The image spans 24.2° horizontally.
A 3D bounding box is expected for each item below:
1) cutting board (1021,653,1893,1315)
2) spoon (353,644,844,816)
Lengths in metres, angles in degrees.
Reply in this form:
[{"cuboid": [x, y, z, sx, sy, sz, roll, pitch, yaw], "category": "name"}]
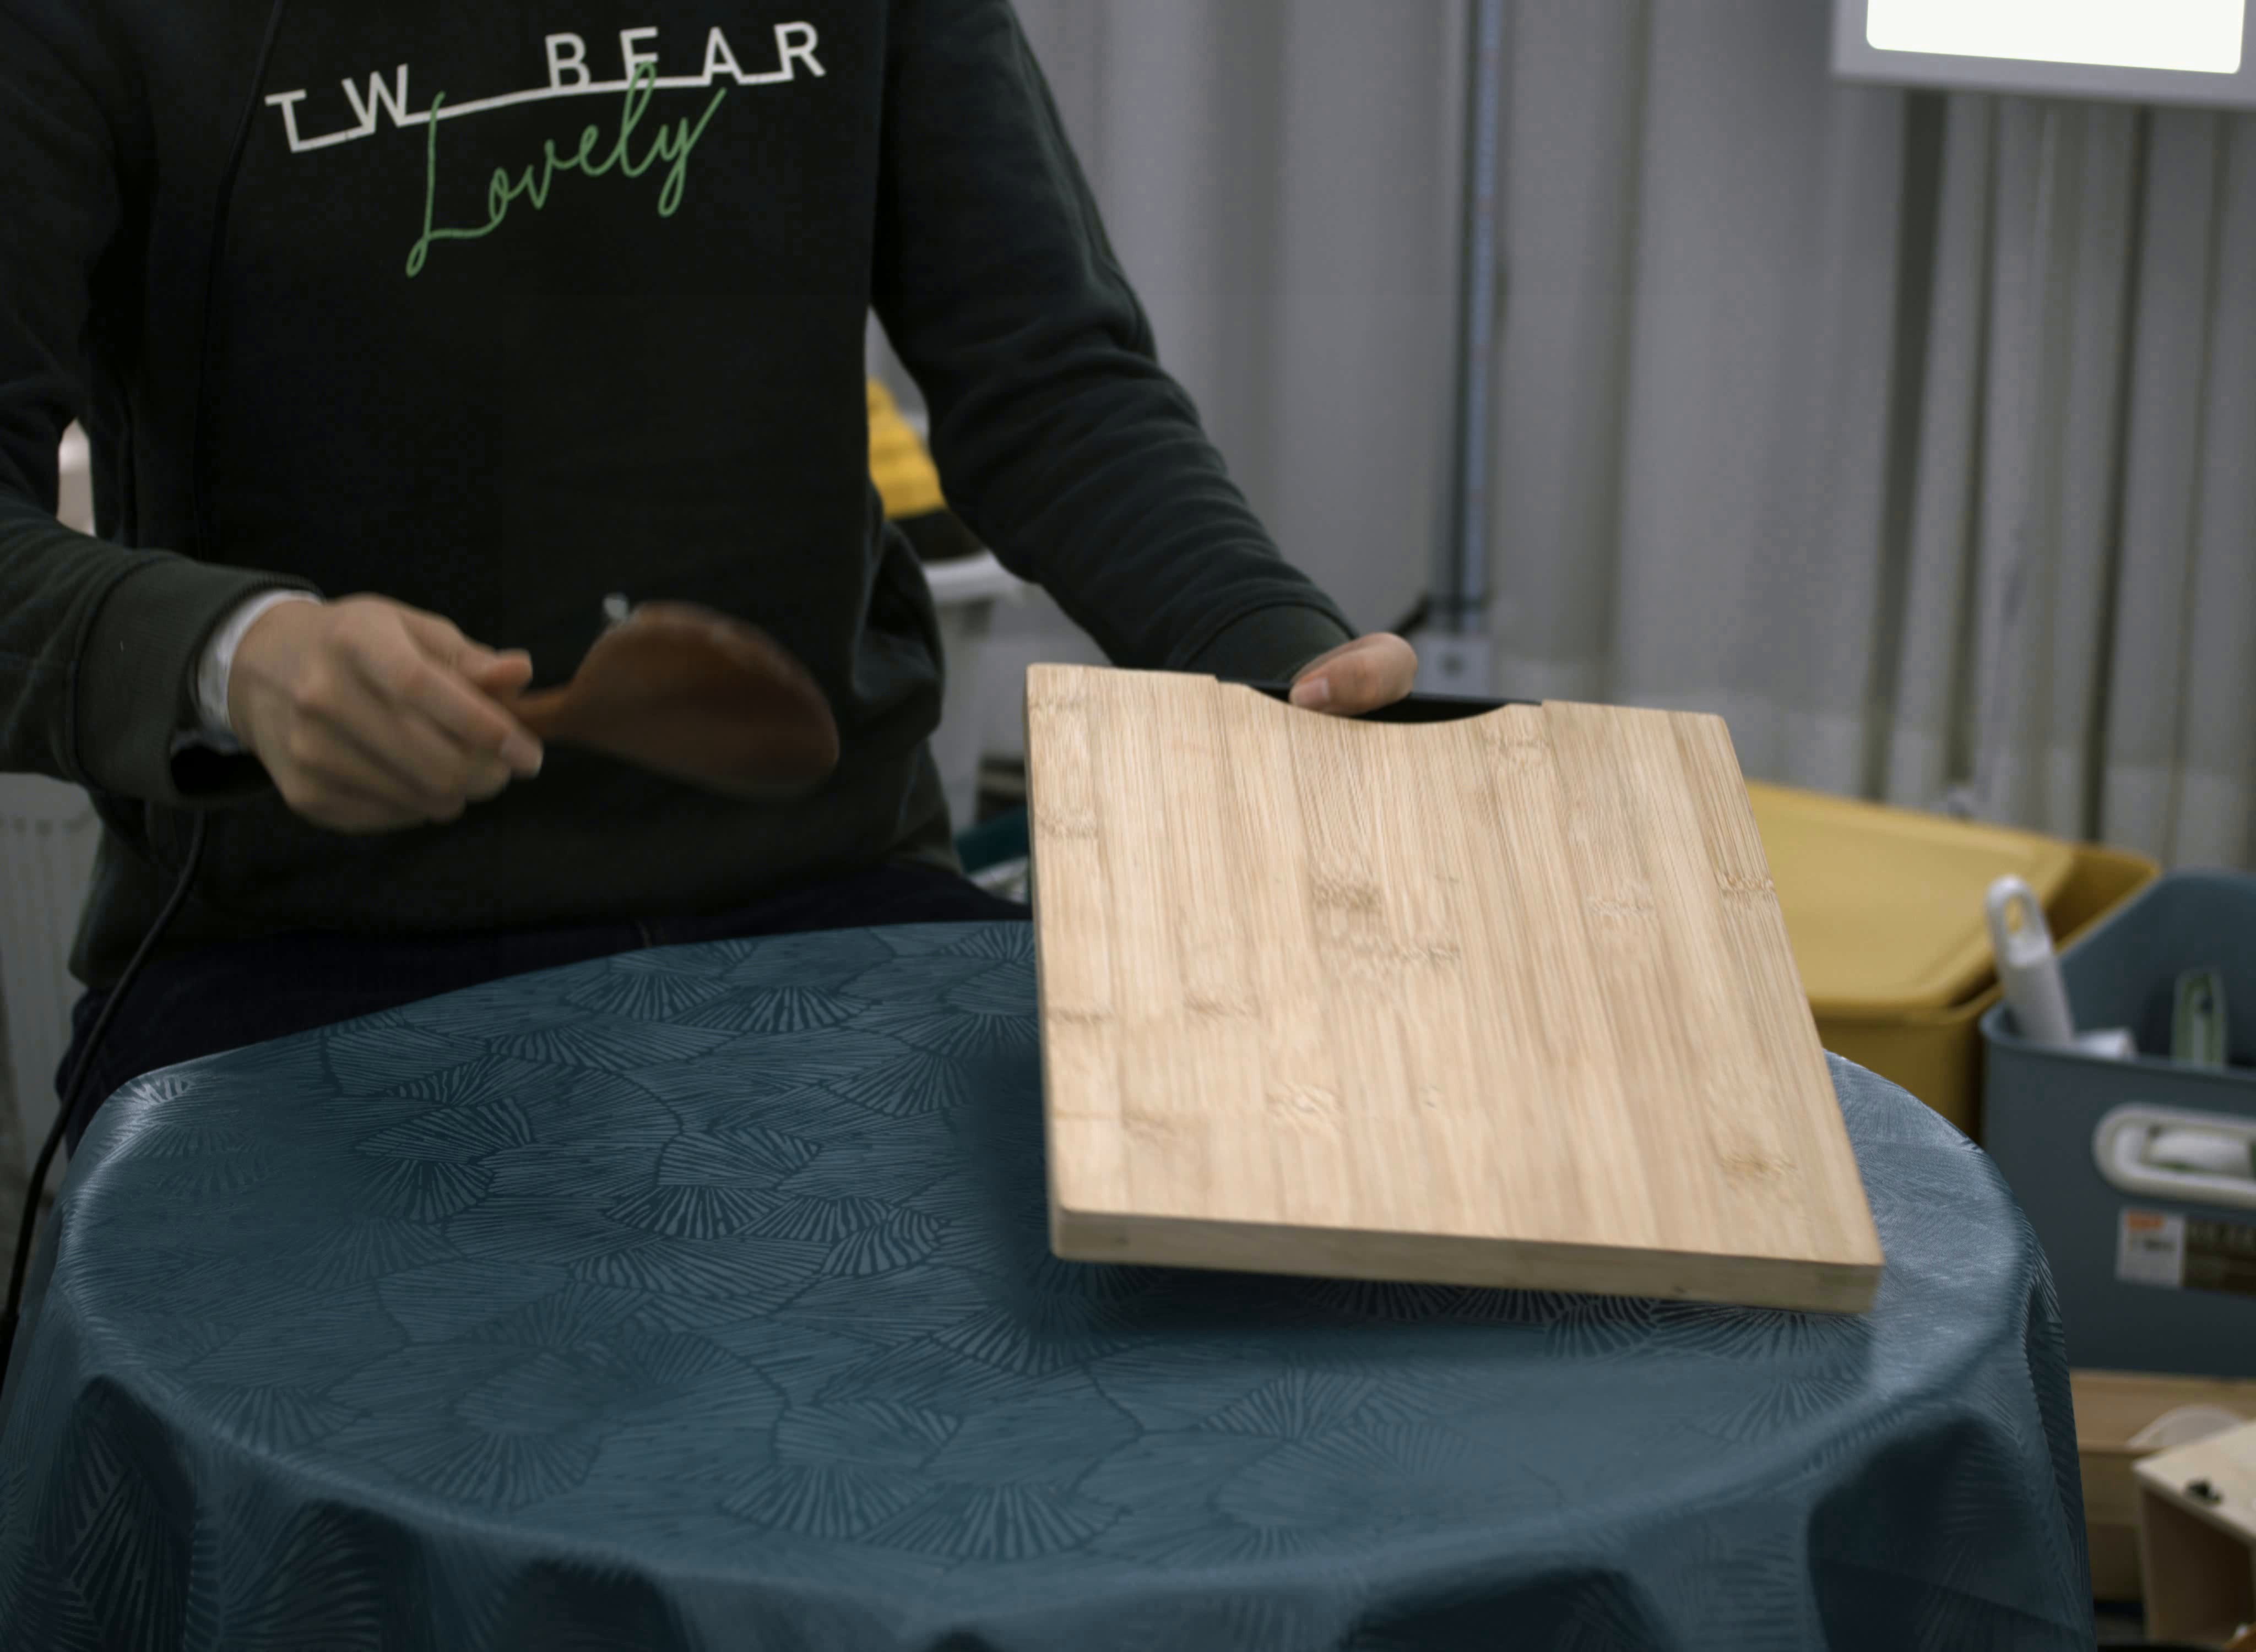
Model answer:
[{"cuboid": [0.092, 0.042, 1.655, 0.250, 0.024, 0.345, 5, 29, -8], "category": "cutting board"}, {"cuboid": [-0.164, -0.026, 1.569, 0.213, 0.076, 0.017, 1, 53, 47], "category": "spoon"}]
